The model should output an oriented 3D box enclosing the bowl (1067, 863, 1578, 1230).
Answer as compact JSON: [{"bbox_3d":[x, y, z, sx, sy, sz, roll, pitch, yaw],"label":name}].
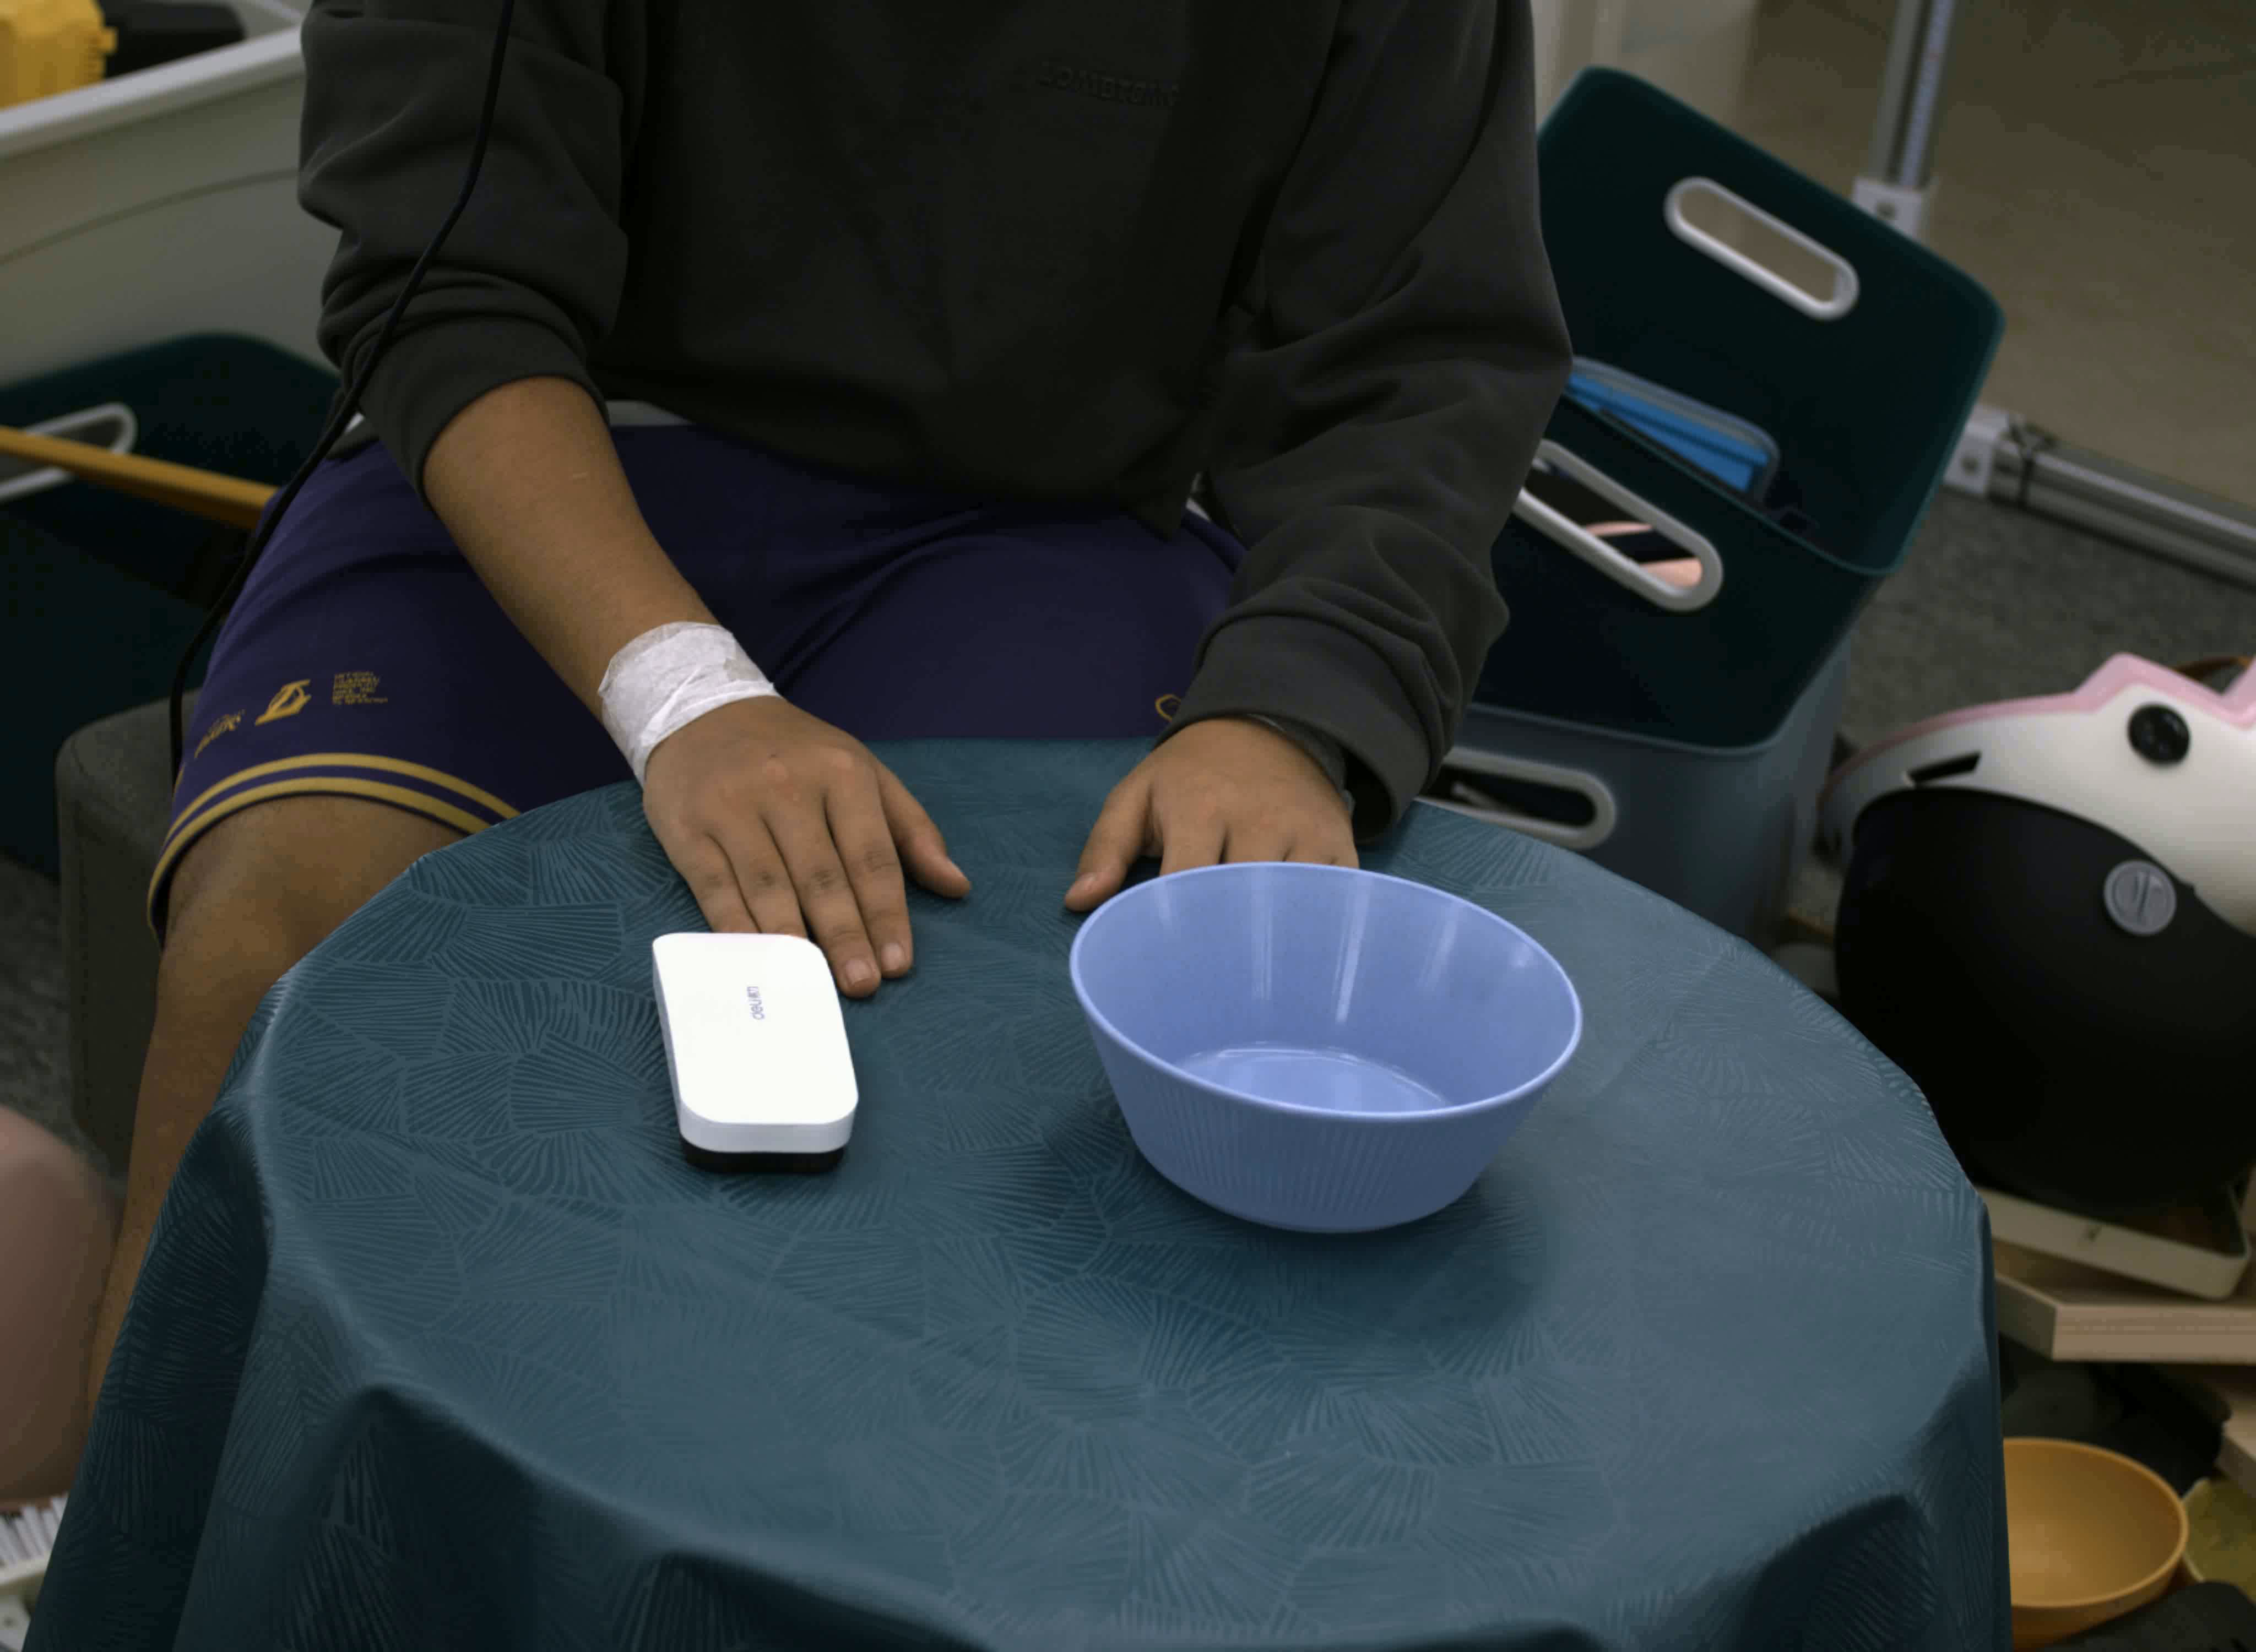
[{"bbox_3d":[0.062,0.081,1.820,0.175,0.070,0.177,6,27,-3],"label":"bowl"}]

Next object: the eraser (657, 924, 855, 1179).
[{"bbox_3d":[-0.128,0.074,1.835,0.063,0.034,0.132,3,29,-10],"label":"eraser"}]
